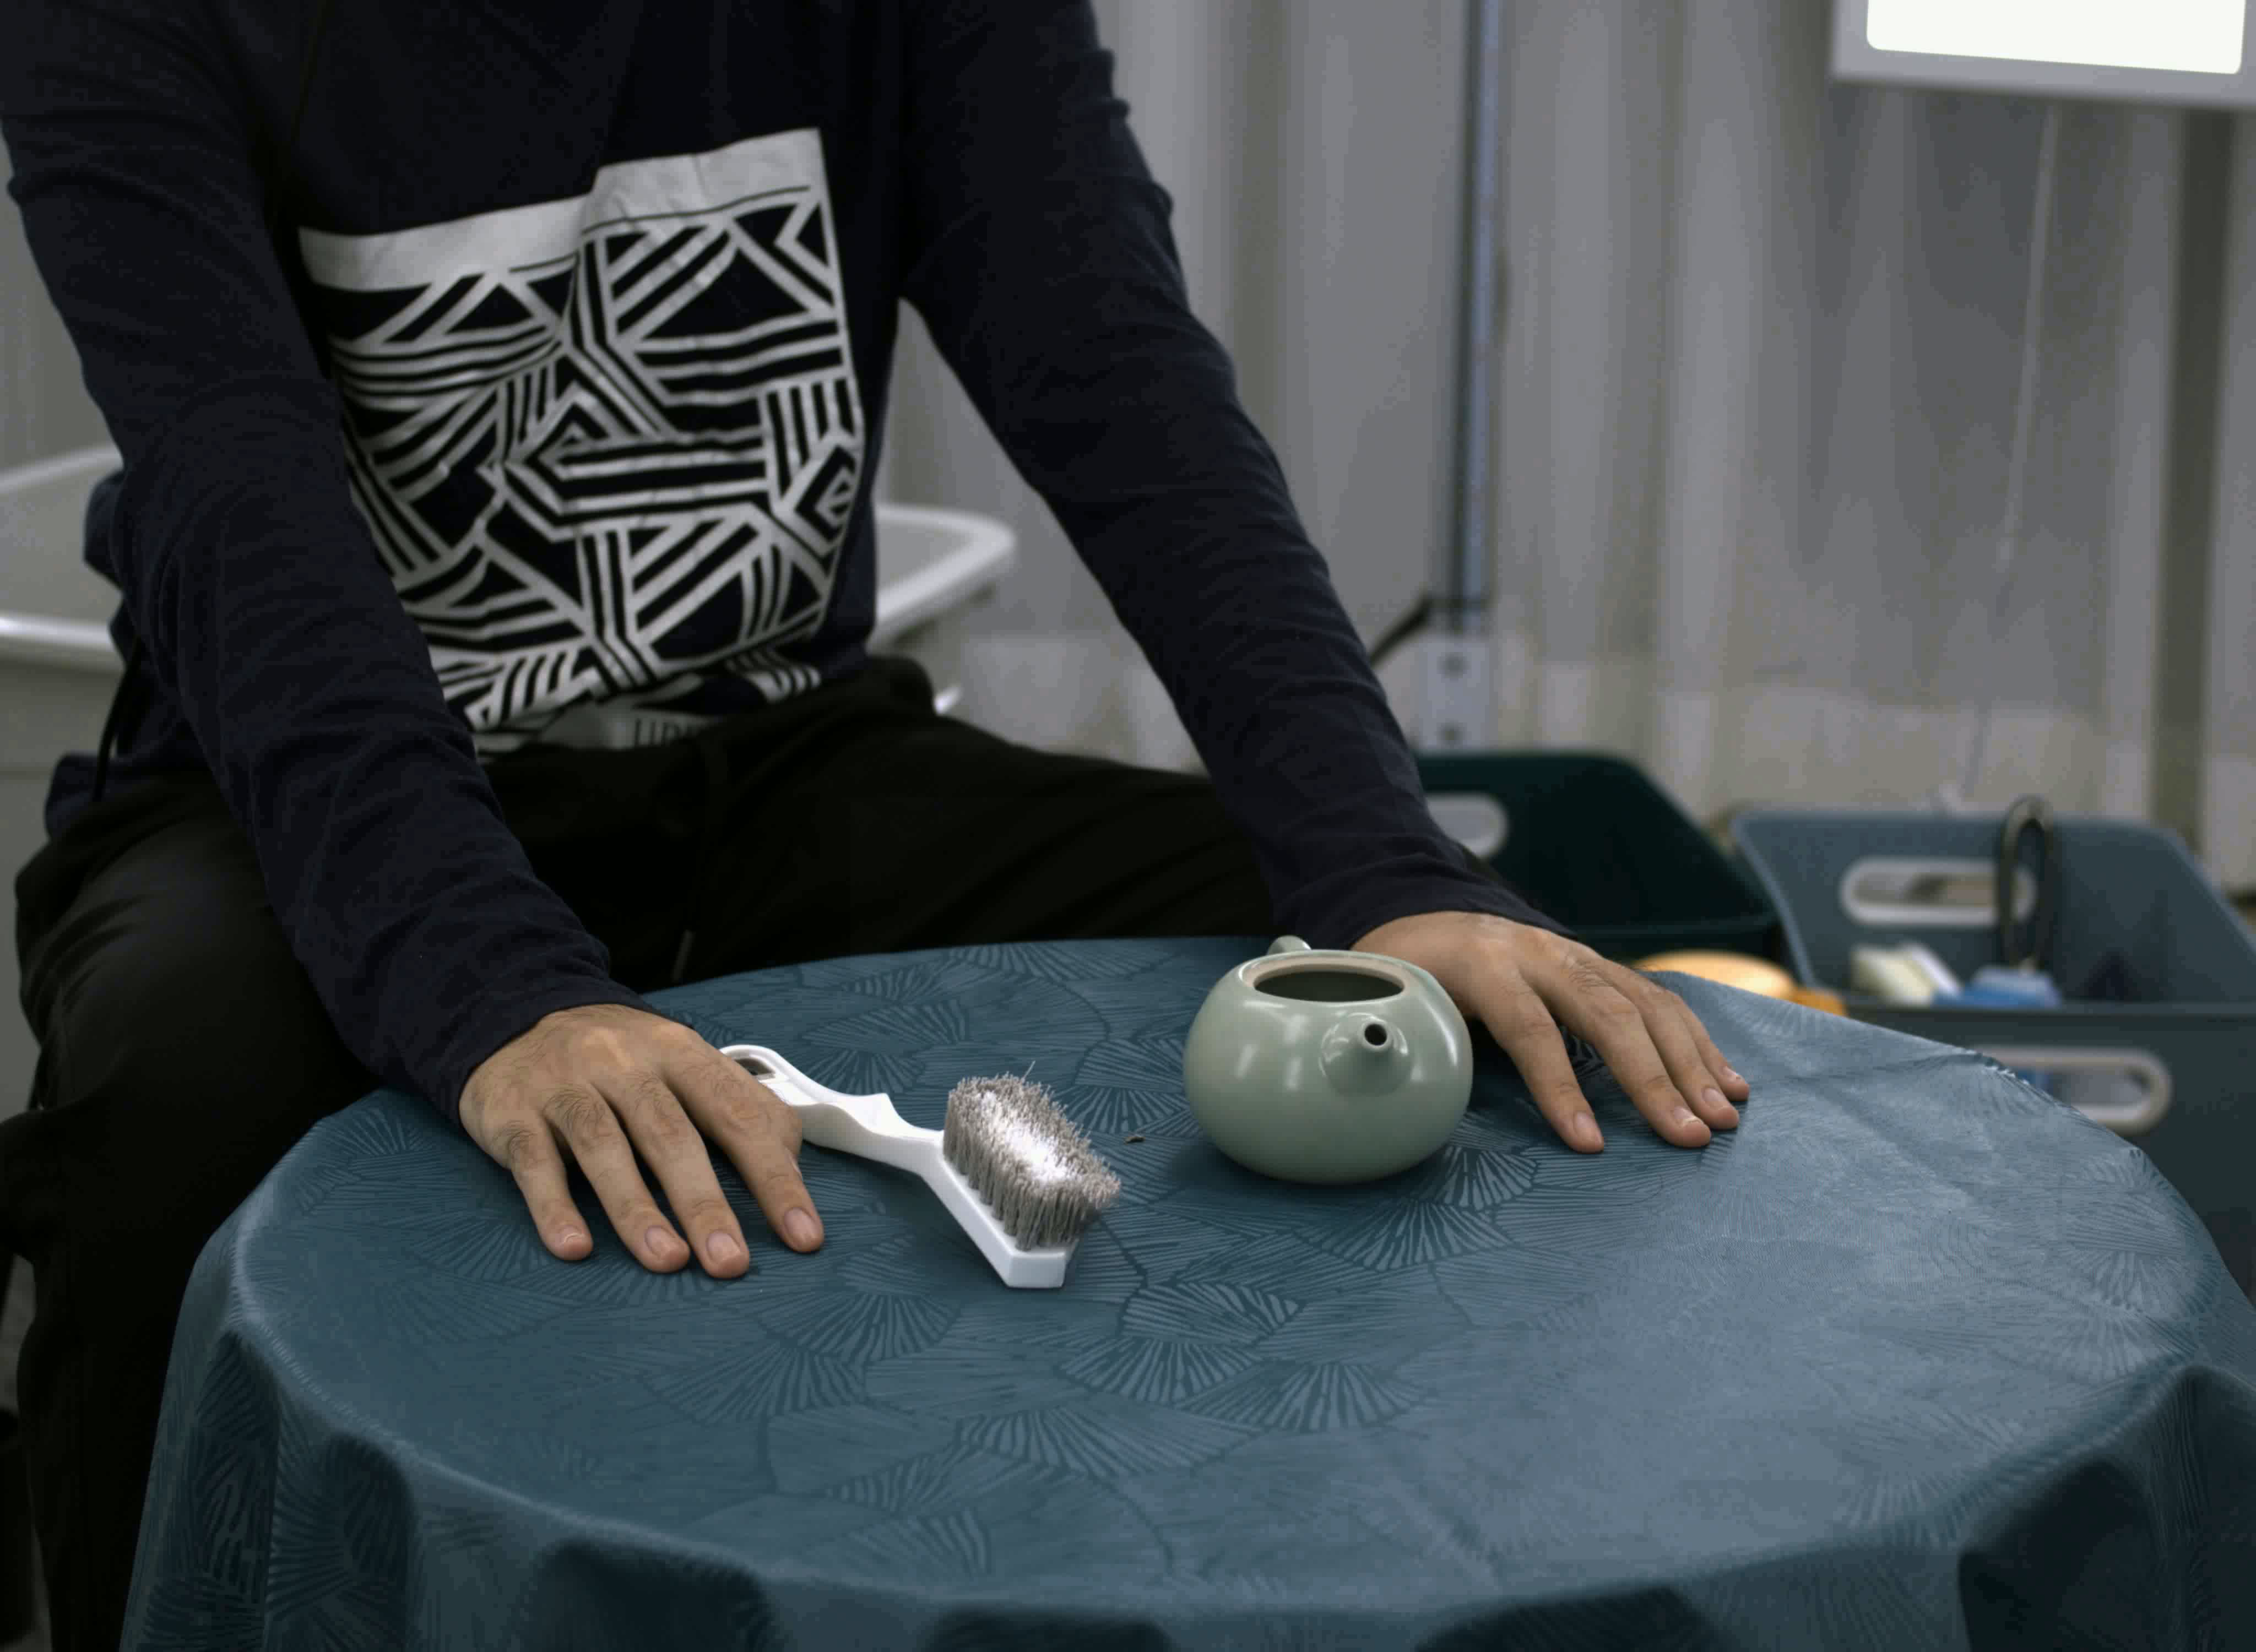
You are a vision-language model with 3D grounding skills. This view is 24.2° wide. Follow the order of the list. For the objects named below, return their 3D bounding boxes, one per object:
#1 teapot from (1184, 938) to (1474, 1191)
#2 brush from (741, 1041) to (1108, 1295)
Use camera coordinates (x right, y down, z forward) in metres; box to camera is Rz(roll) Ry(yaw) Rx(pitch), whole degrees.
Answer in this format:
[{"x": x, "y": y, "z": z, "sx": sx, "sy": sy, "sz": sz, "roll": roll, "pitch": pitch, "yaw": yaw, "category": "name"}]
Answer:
[{"x": 0.061, "y": 0.074, "z": 1.658, "sx": 0.091, "sy": 0.061, "sz": 0.127, "roll": -7, "pitch": 16, "yaw": -7, "category": "teapot"}, {"x": -0.069, "y": 0.086, "z": 1.630, "sx": 0.034, "sy": 0.050, "sz": 0.240, "roll": -12, "pitch": 19, "yaw": -23, "category": "brush"}]
